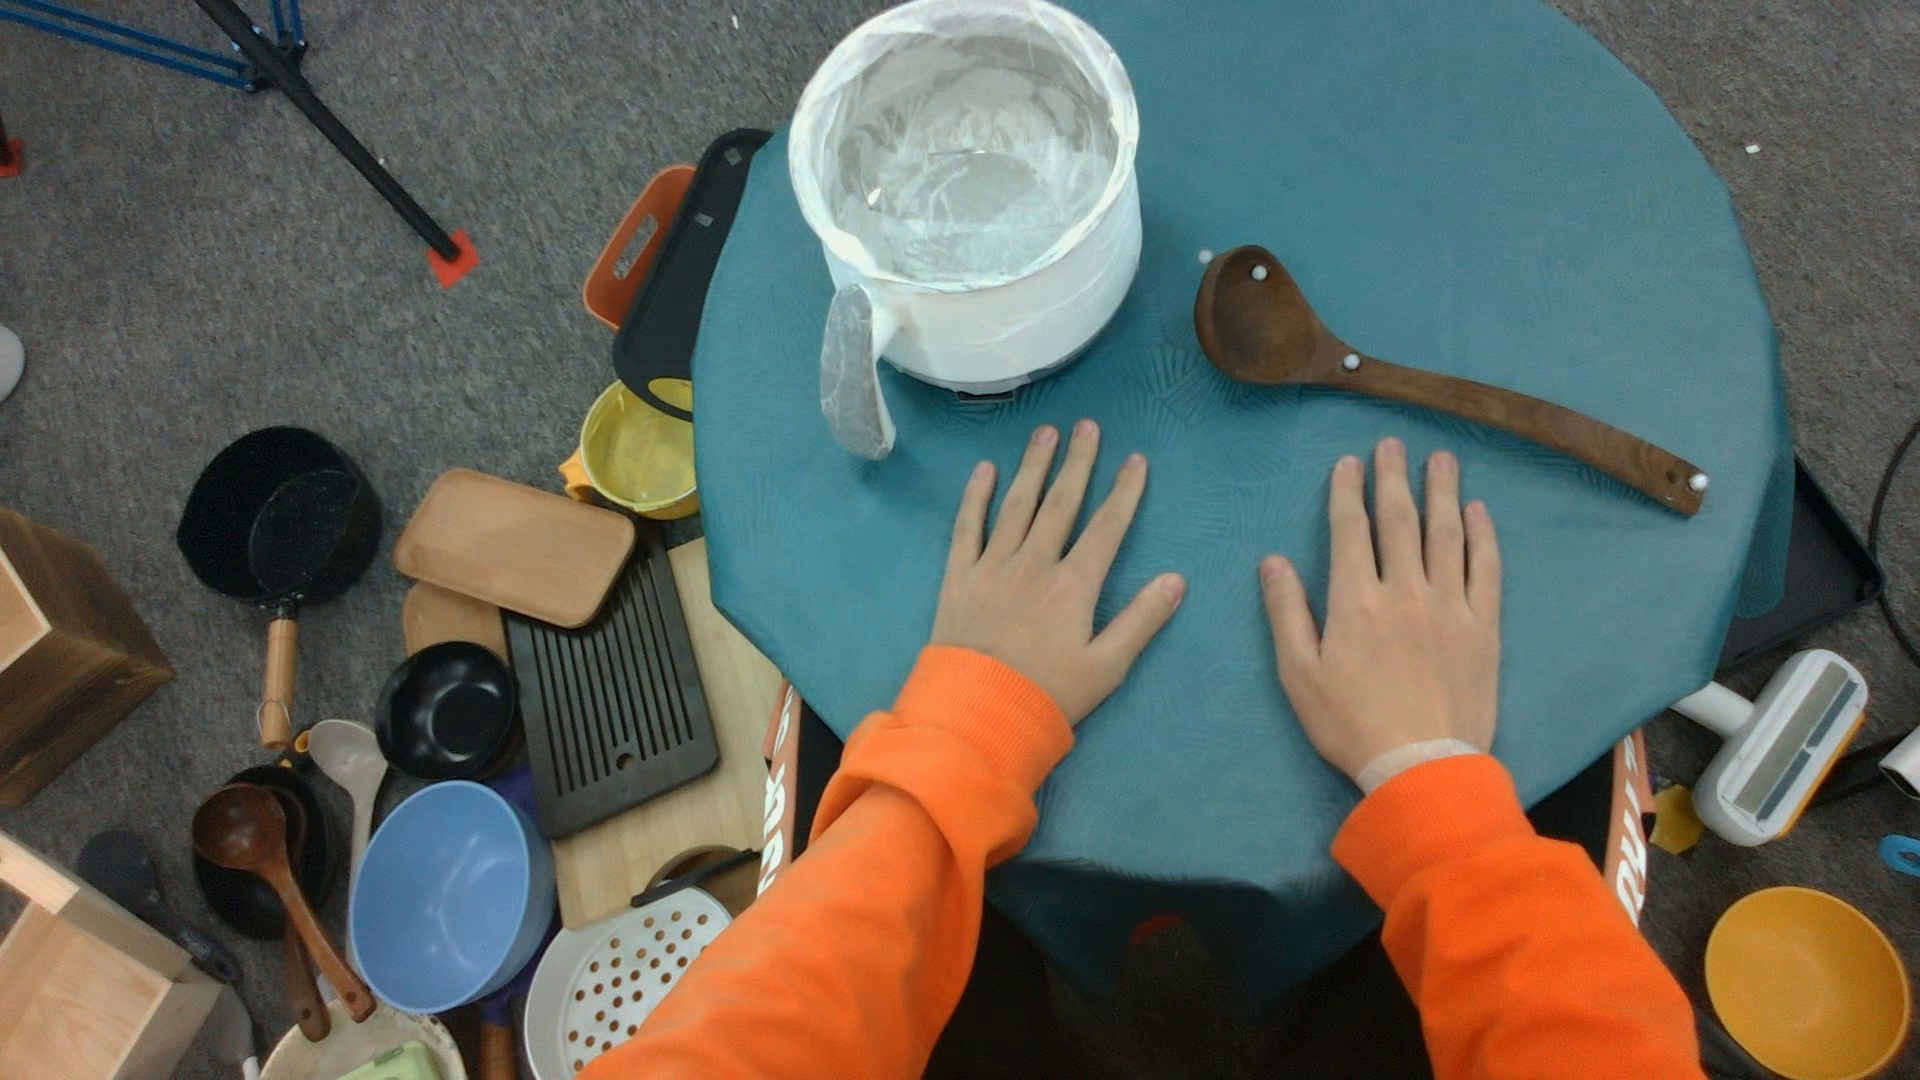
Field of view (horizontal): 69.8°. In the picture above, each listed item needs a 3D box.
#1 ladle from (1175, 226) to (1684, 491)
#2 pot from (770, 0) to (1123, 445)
[{"bbox_3d":[0.245,-0.092,0.717,0.274,0.071,0.076,22,77,15],"label":"ladle"},{"bbox_3d":[-0.014,-0.166,0.743,0.178,0.136,0.234,26,76,16],"label":"pot"}]
